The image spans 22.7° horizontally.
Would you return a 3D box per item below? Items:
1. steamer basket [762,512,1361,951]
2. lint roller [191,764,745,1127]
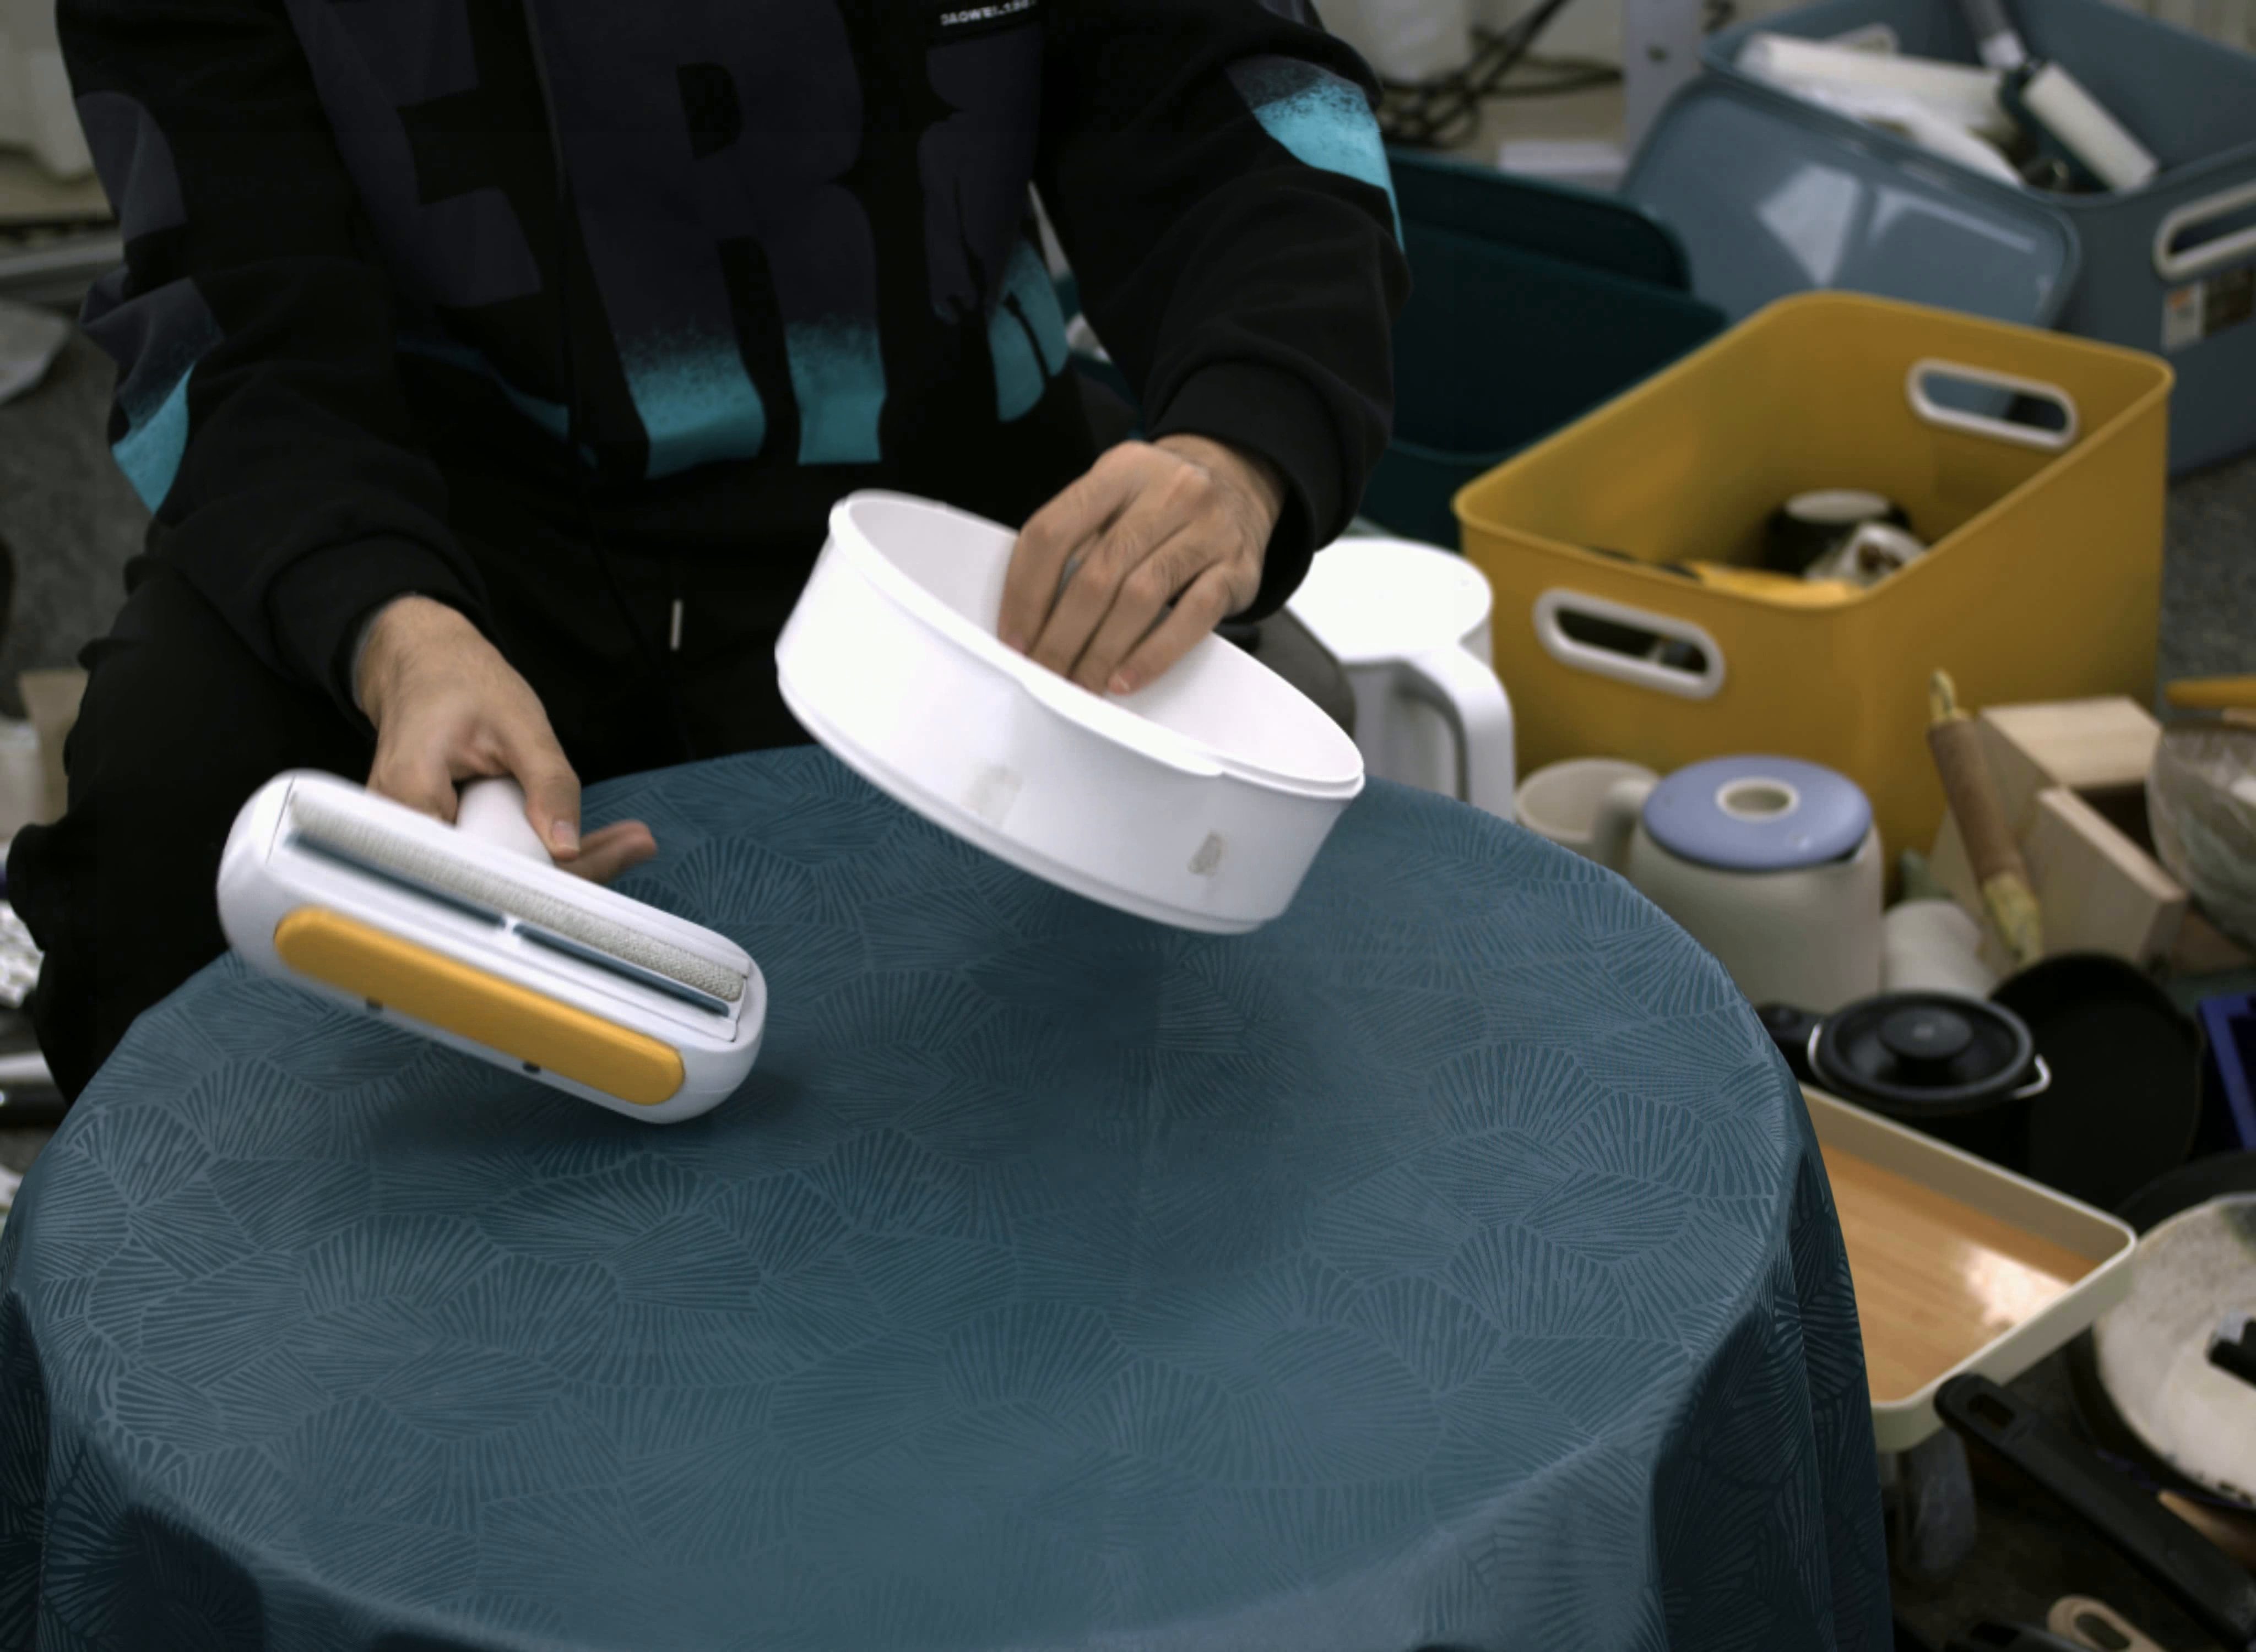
[{"bbox_3d":[-0.023,-0.029,1.883,0.201,0.069,0.232,26,10,-12],"label":"steamer basket"},{"bbox_3d":[-0.221,0.019,1.951,0.192,0.073,0.196,19,30,-7],"label":"lint roller"}]
